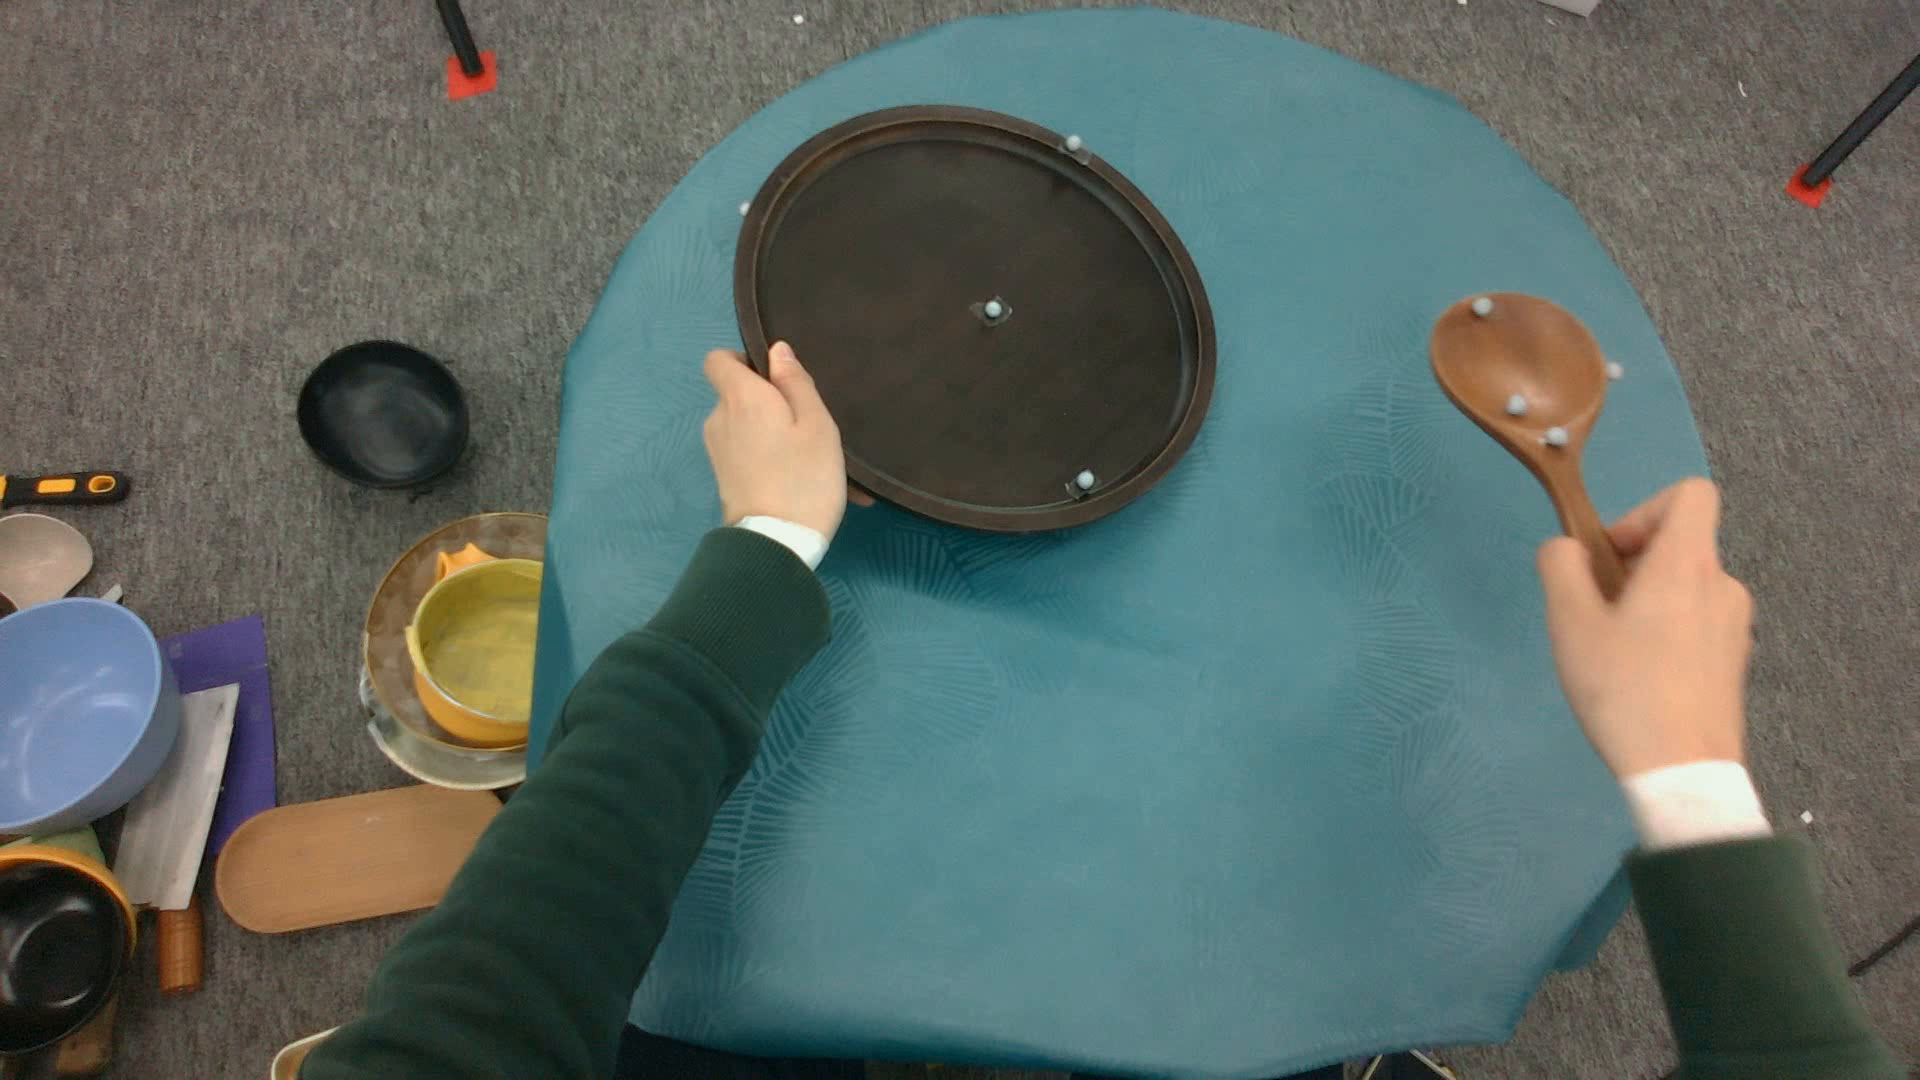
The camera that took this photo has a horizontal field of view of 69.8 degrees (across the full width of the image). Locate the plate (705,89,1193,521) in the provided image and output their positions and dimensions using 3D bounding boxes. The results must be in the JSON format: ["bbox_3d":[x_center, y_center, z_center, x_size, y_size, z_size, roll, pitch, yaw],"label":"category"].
[{"bbox_3d":[-0.002,-0.123,0.698,0.255,0.029,0.255,7,63,-14],"label":"plate"}]

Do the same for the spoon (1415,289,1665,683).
[{"bbox_3d":[0.244,-0.031,0.575,0.075,0.017,0.217,-3,49,1],"label":"spoon"}]
